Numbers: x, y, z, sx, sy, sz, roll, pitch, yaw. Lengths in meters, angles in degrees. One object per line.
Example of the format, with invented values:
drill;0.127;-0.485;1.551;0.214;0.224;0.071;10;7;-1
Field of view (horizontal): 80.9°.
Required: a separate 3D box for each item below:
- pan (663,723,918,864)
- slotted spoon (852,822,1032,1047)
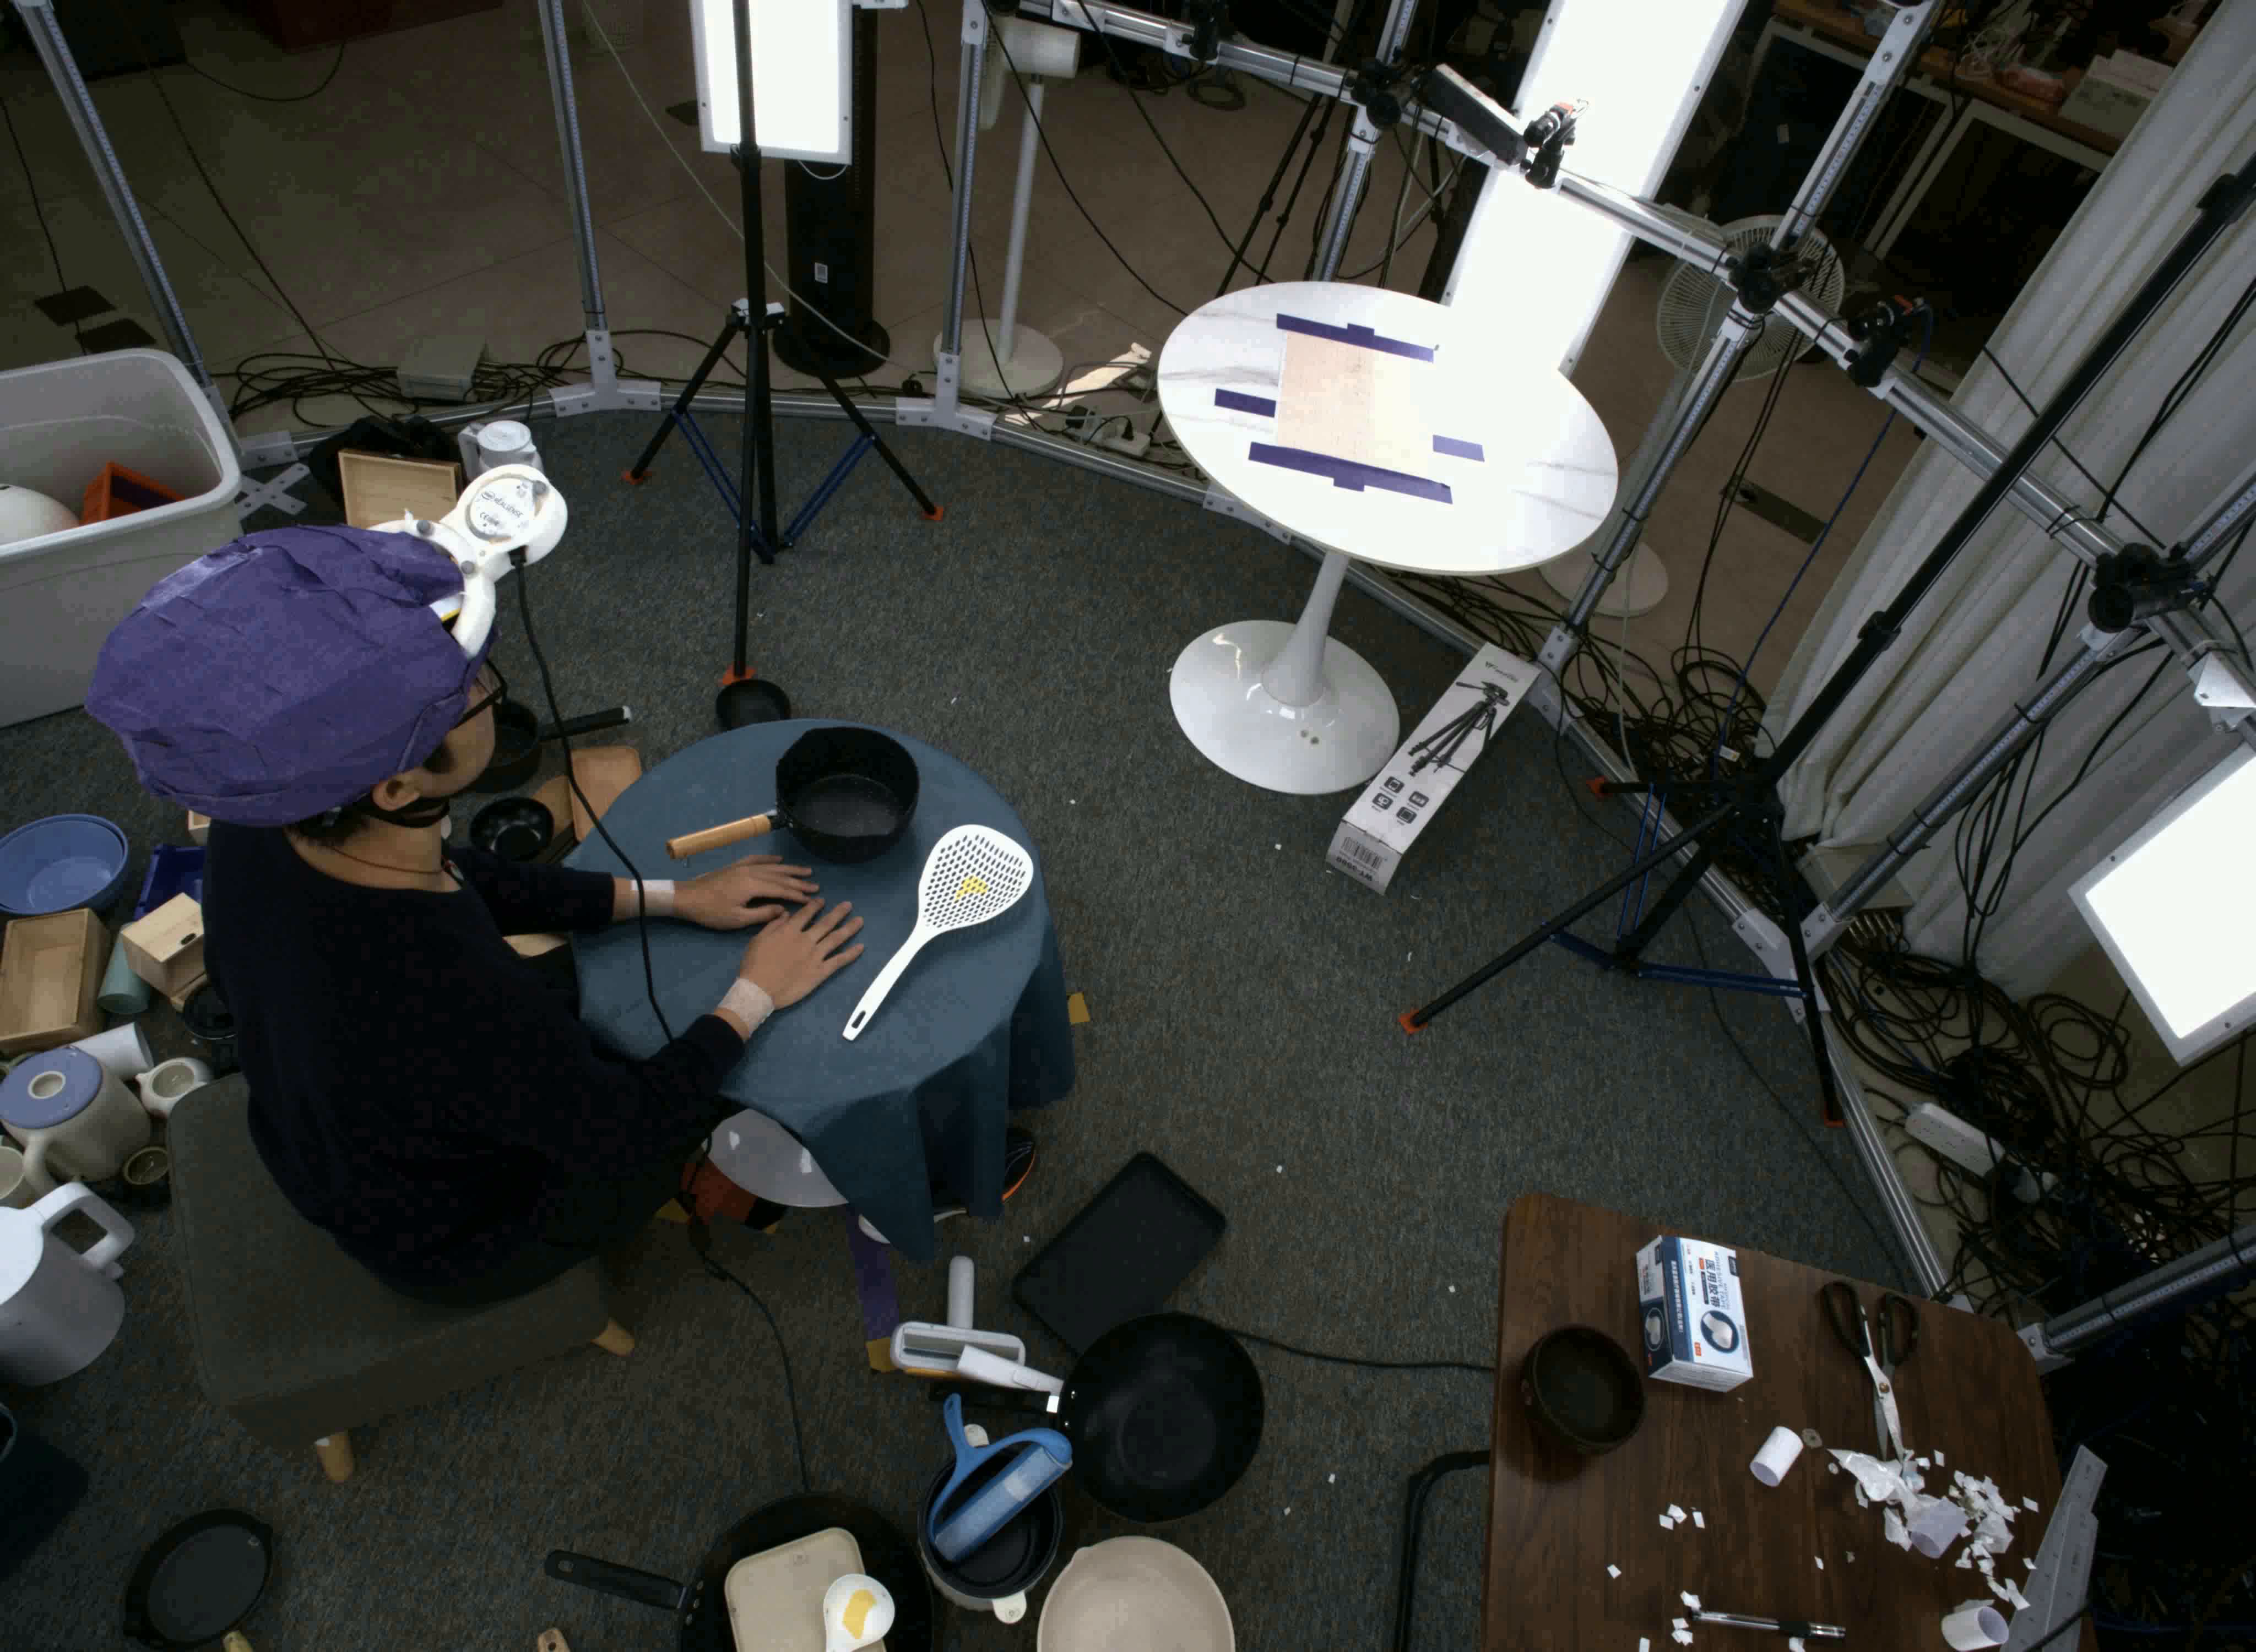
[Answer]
pan;-0.428;-0.011;1.652;0.344;0.110;0.203;-28;66;-32
slotted spoon;-0.248;0.132;1.635;0.135;0.051;0.346;30;51;7
